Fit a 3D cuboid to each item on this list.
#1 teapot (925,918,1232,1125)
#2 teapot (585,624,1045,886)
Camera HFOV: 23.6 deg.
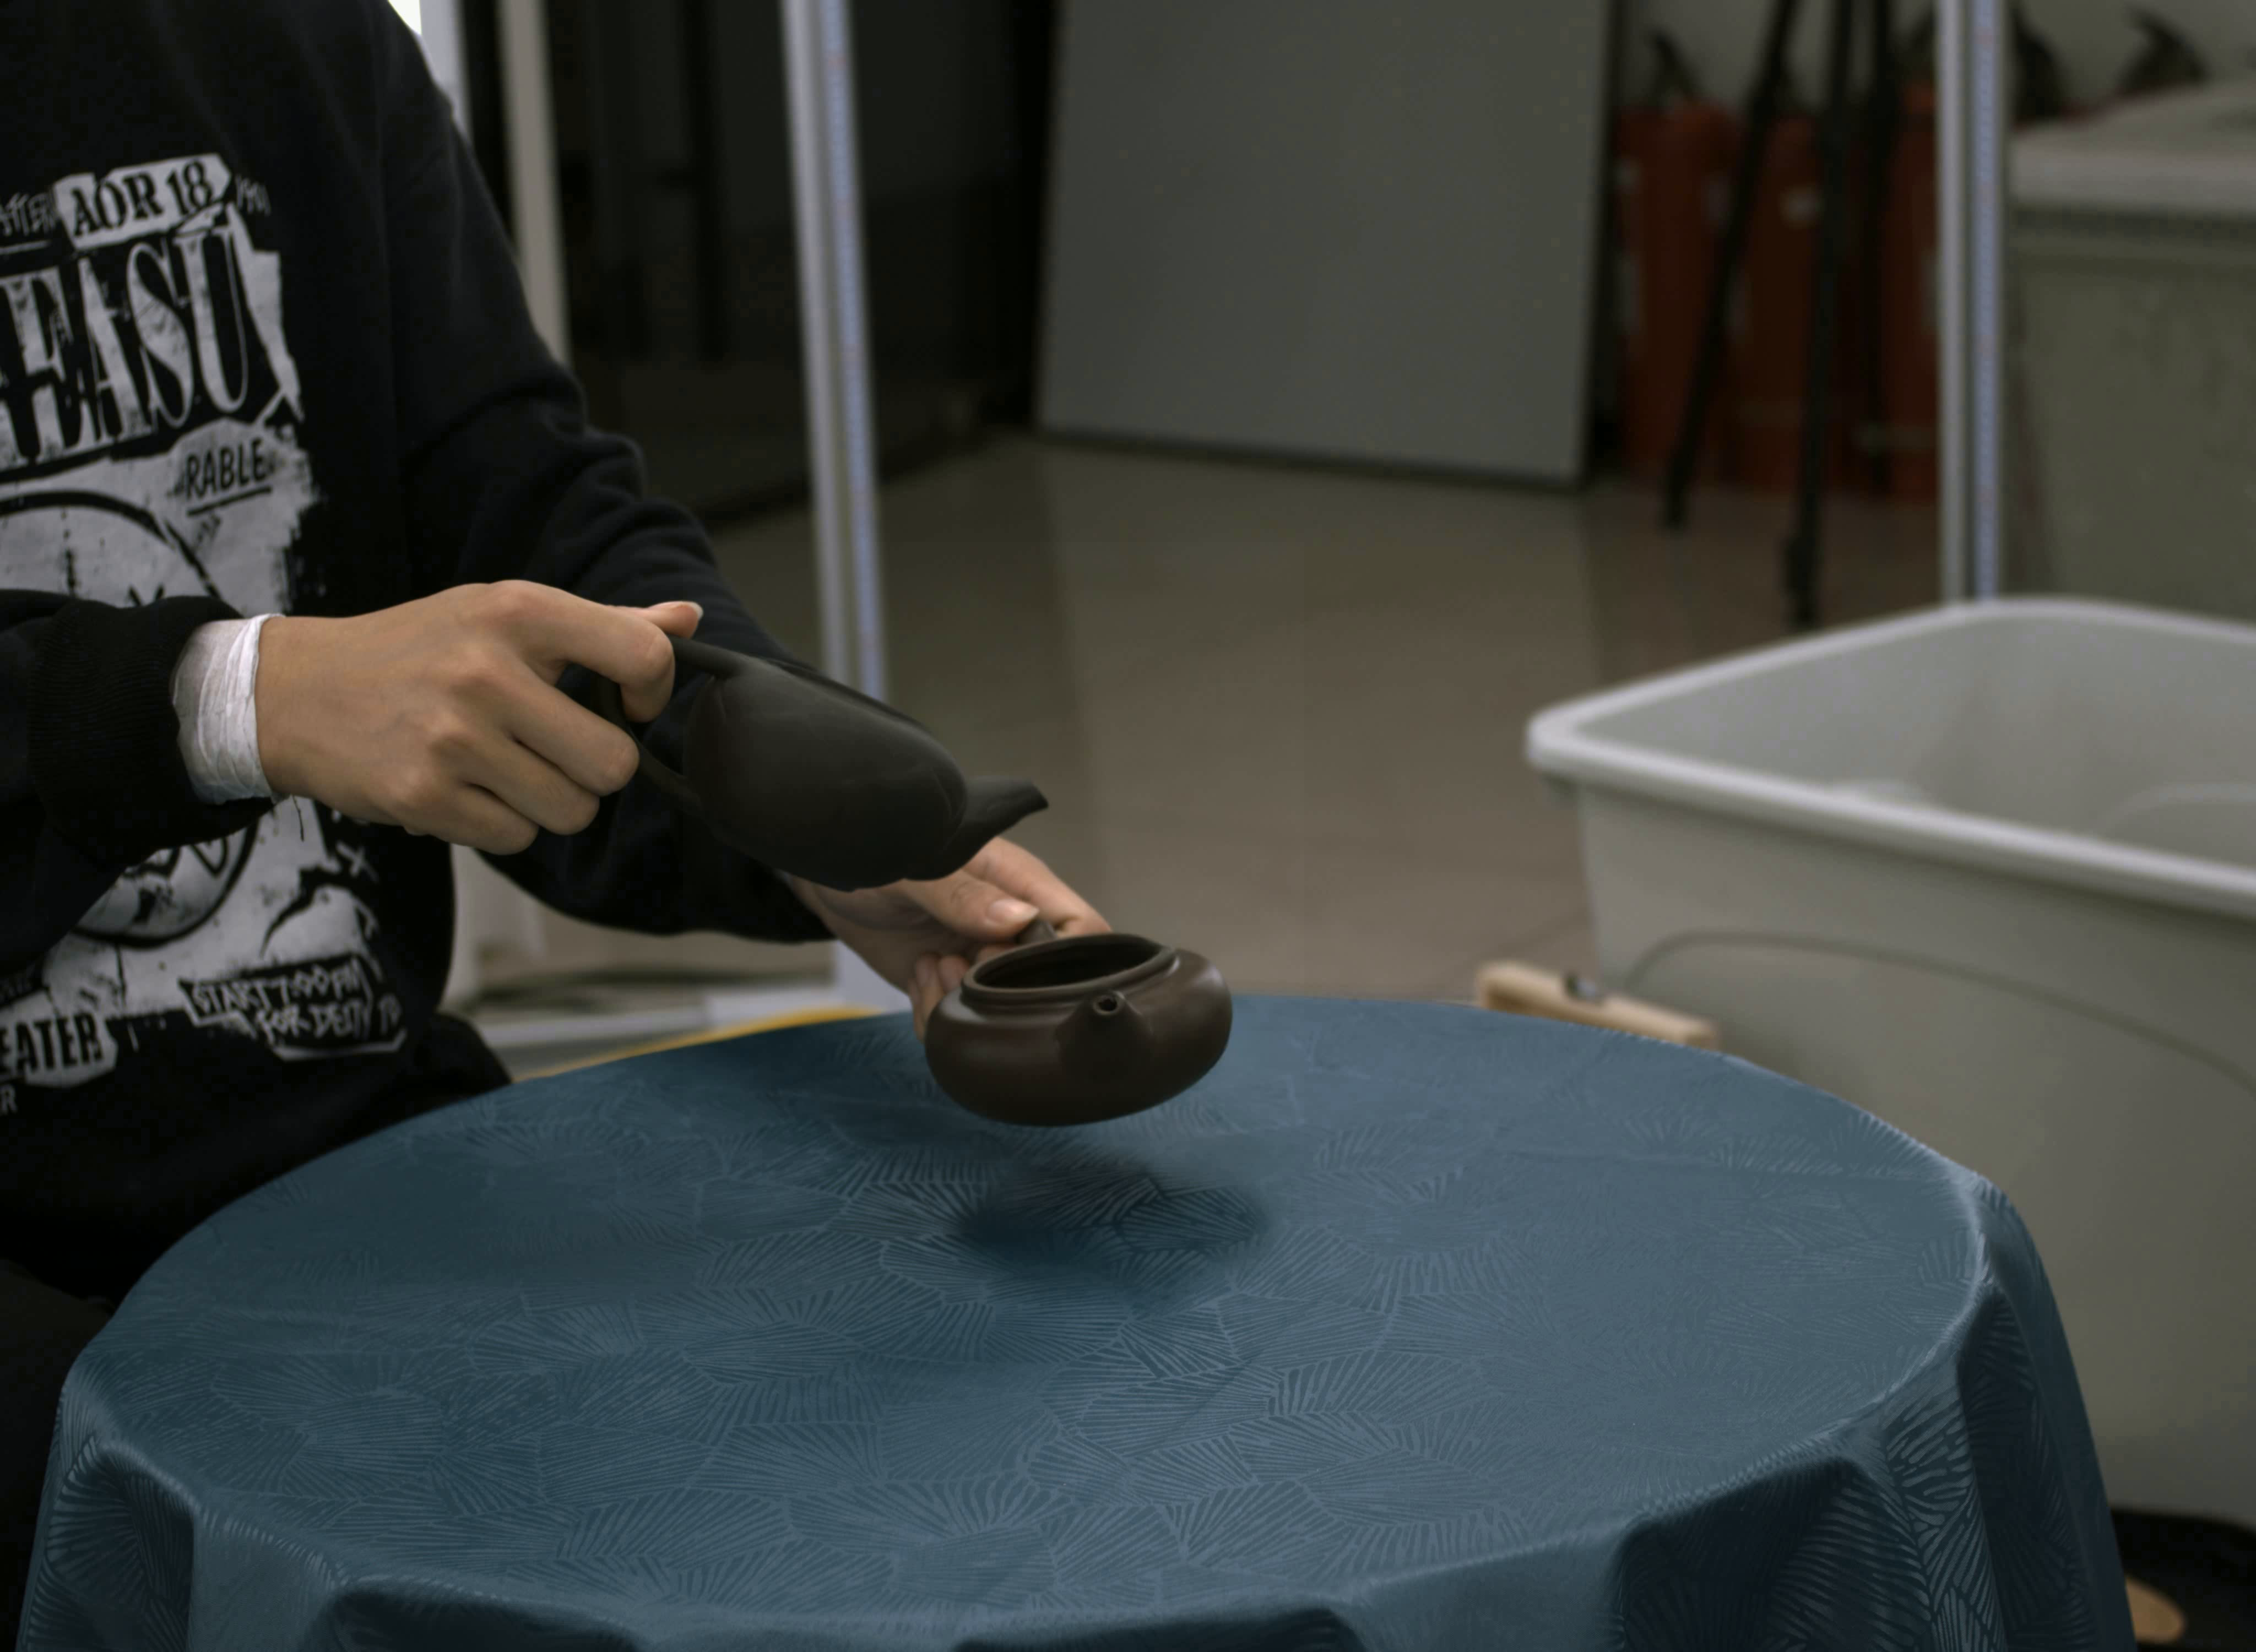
[{"bbox_3d":[-0.017,0.063,1.769,0.101,0.054,0.154,-11,12,-14],"label":"teapot"},{"bbox_3d":[-0.100,-0.020,1.701,0.151,0.065,0.093,22,1,-16],"label":"teapot"}]
